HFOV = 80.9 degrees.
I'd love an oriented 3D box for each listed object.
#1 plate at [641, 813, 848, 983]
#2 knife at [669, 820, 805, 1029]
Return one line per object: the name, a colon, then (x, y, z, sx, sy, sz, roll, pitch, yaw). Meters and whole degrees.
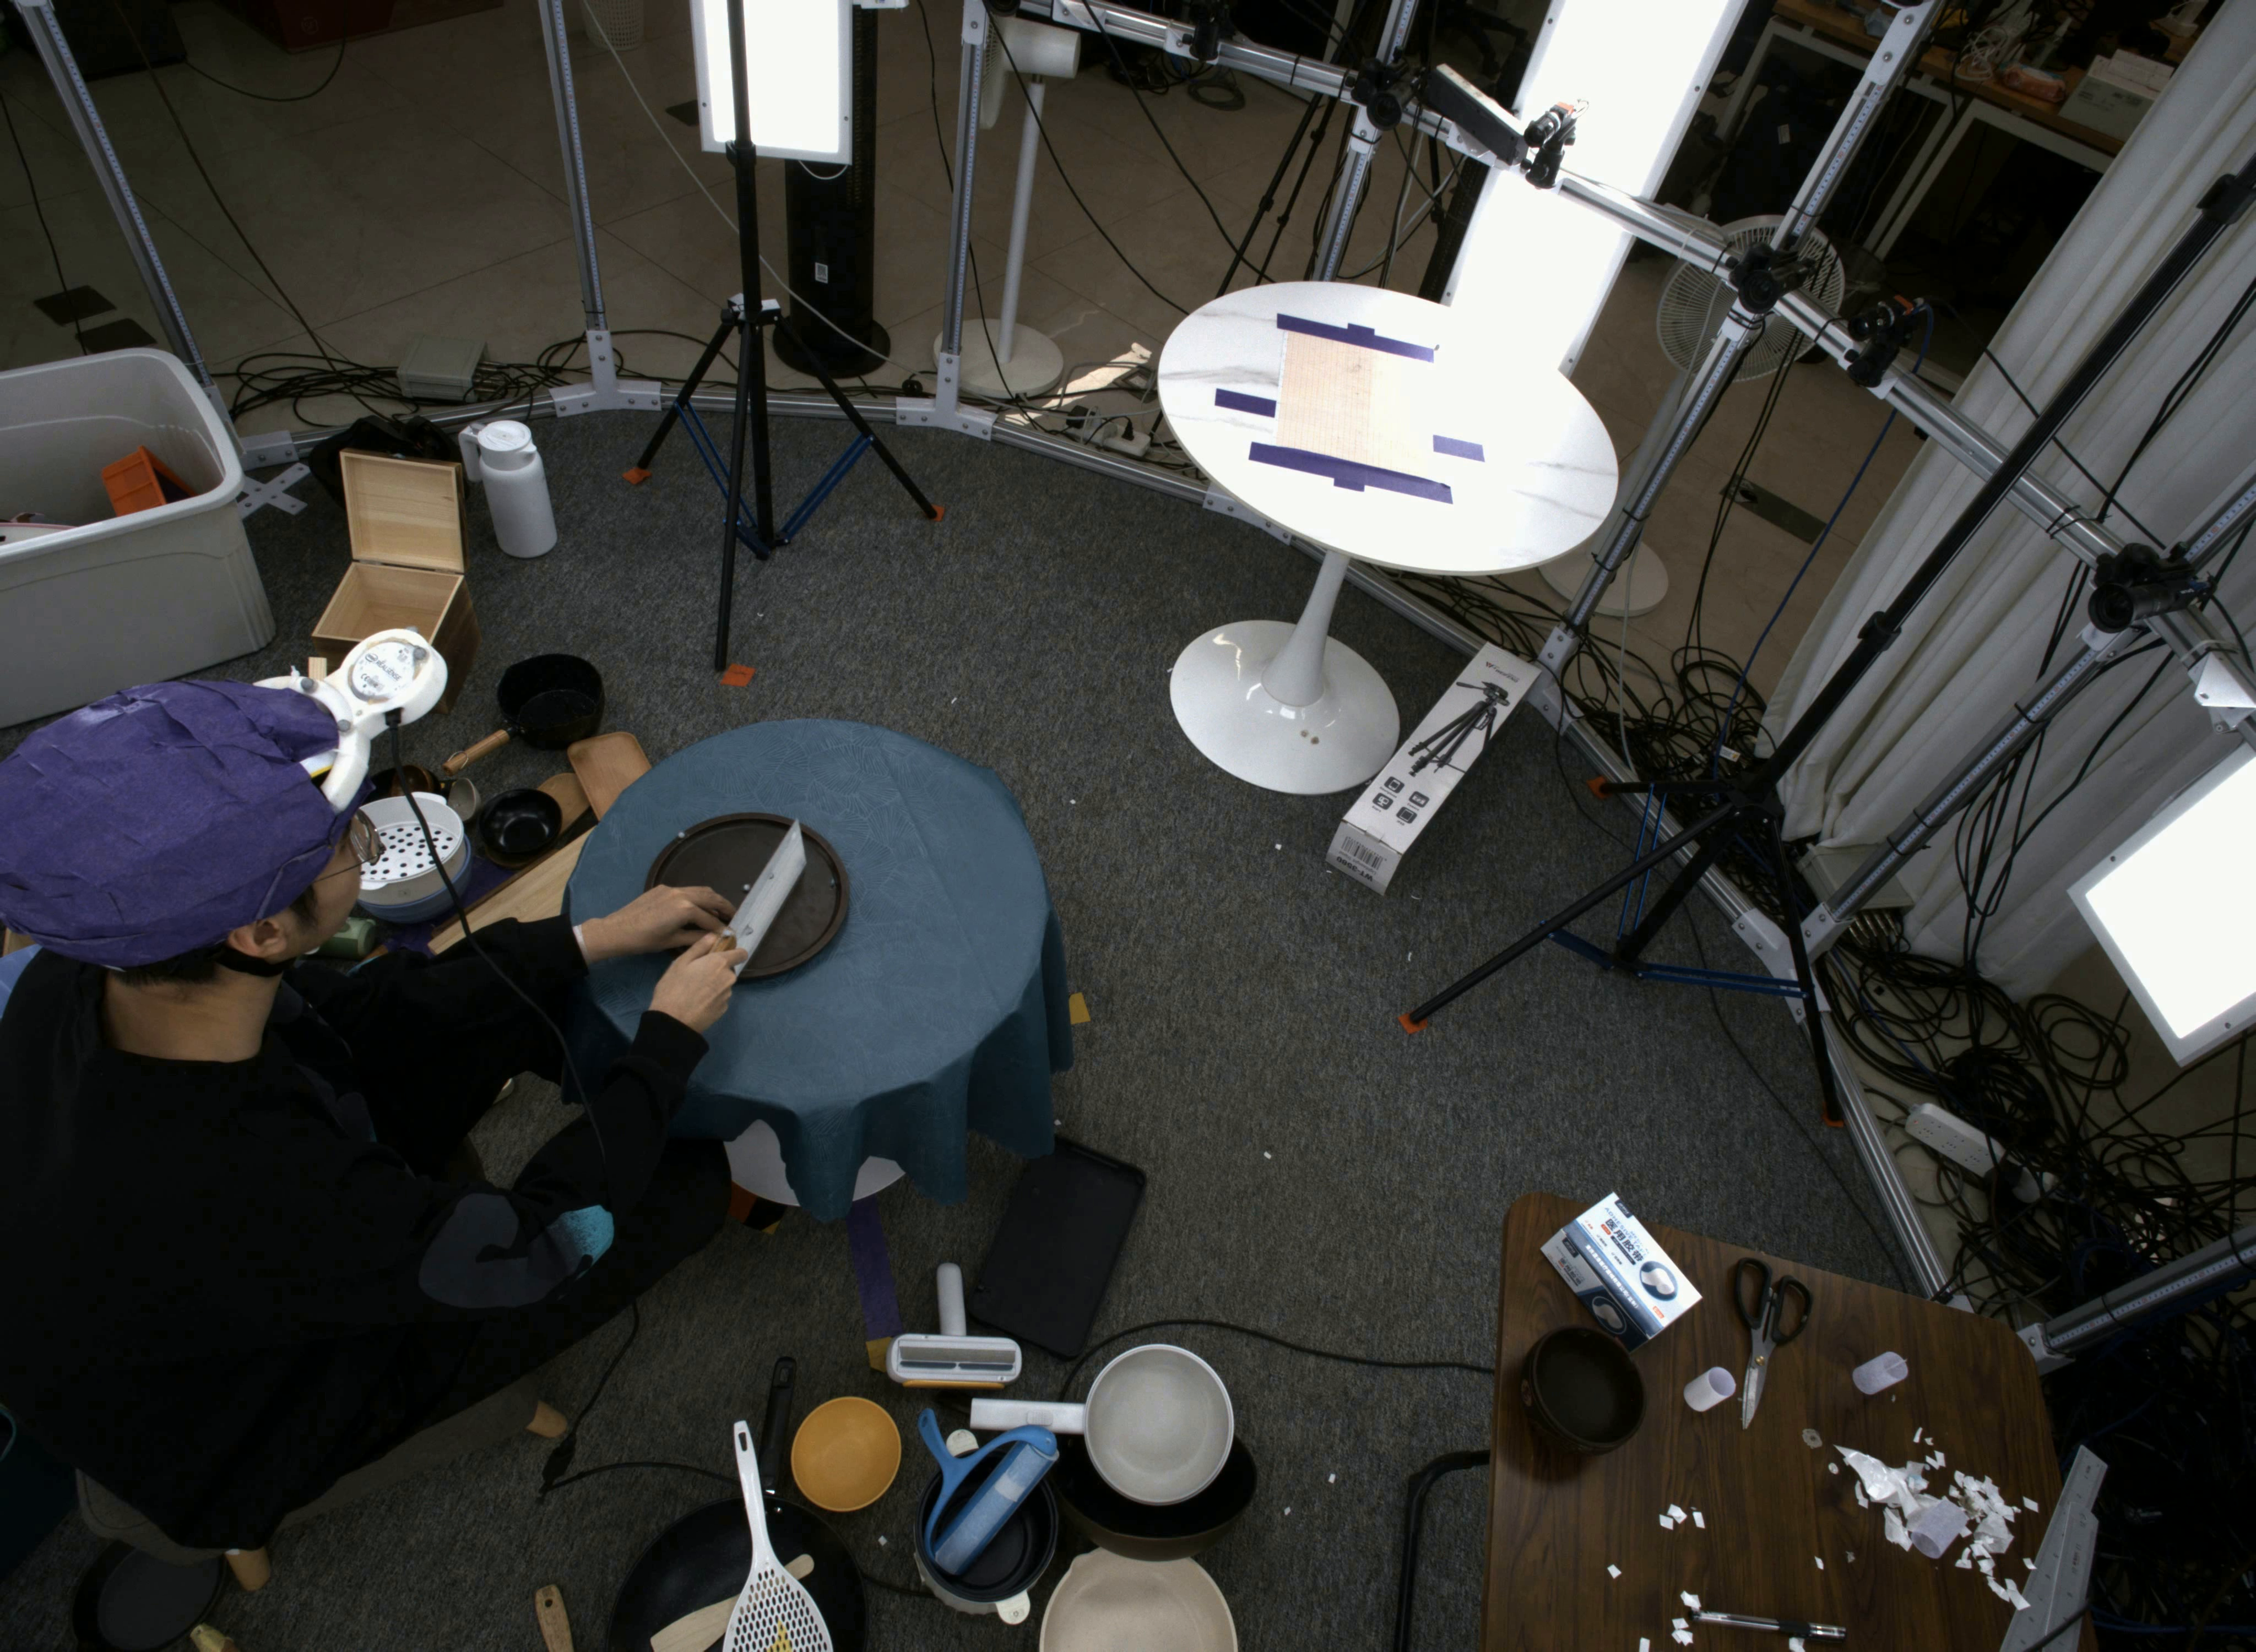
plate: (-0.478, 0.086, 1.618, 0.254, 0.029, 0.250, 8, 51, -8)
knife: (-0.452, 0.123, 1.524, 0.020, 0.095, 0.302, 15, 49, 9)
